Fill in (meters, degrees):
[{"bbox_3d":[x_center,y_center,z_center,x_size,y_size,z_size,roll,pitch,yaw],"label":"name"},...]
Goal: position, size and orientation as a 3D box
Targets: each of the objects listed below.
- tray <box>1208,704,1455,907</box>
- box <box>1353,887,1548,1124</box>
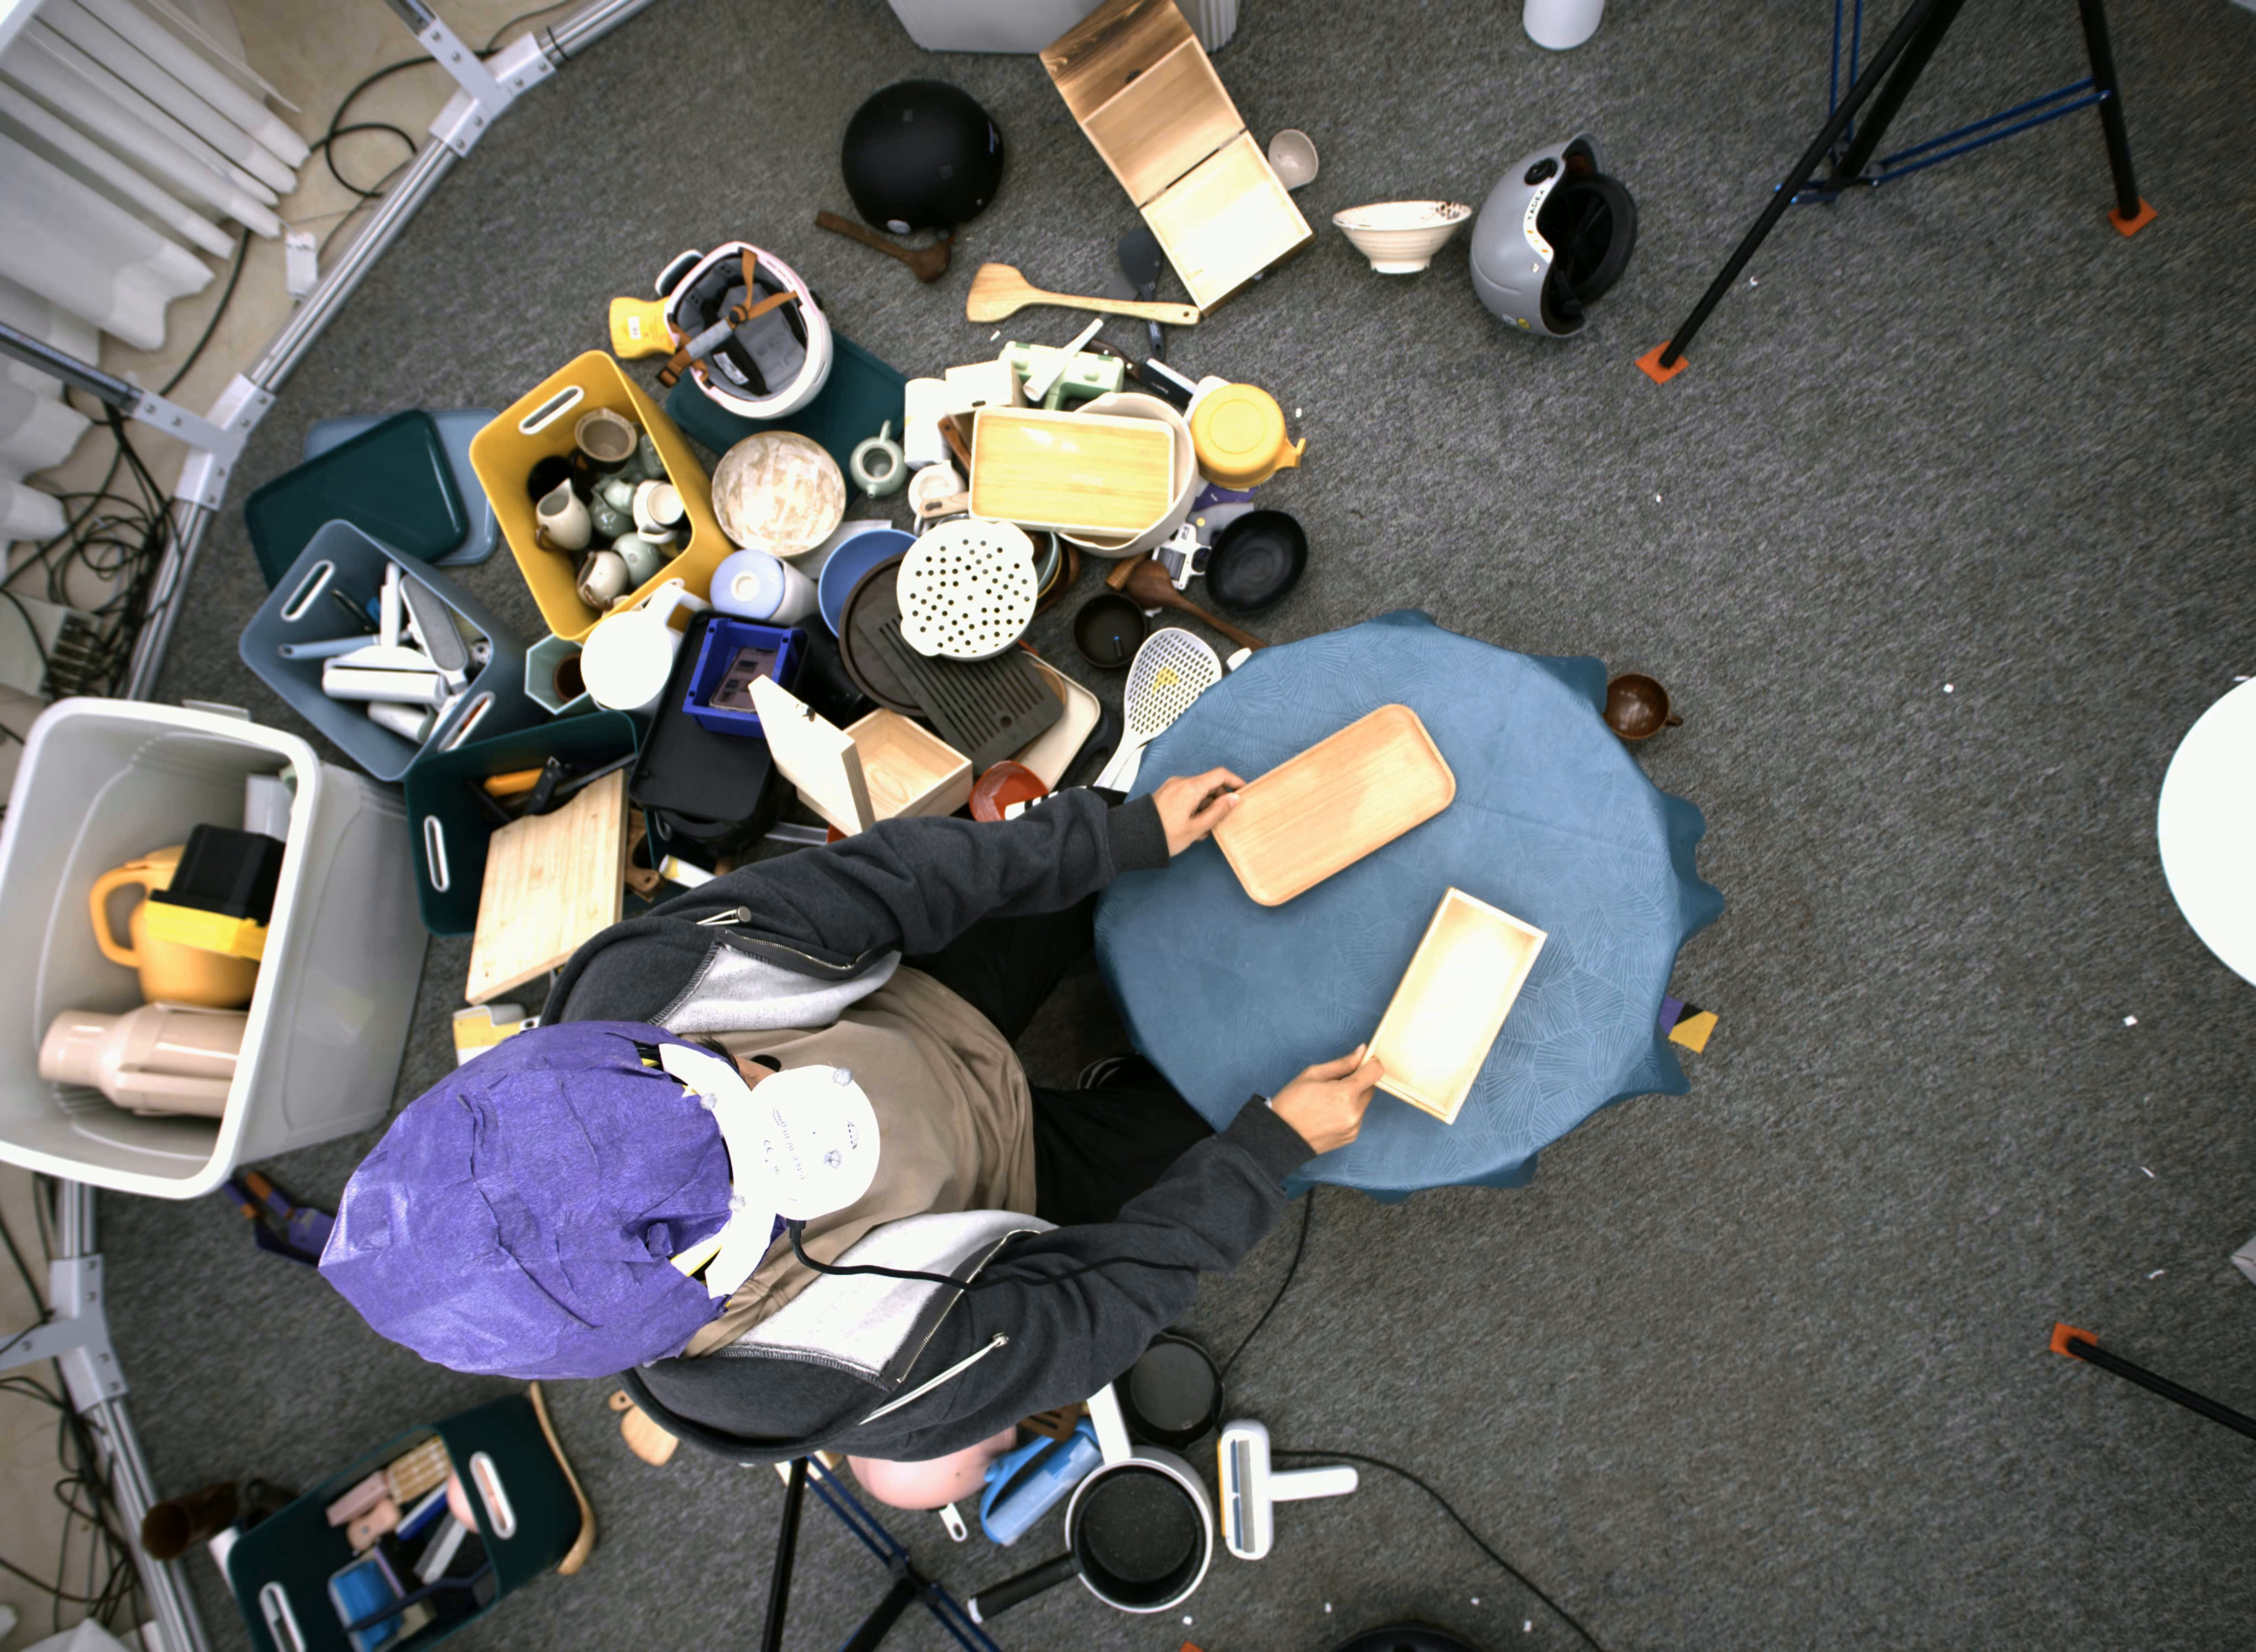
[{"bbox_3d":[0.214,-0.023,1.450,0.251,0.023,0.130,-30,83,1],"label":"tray"},{"bbox_3d":[0.325,0.178,1.398,0.107,0.080,0.212,27,95,11],"label":"box"}]
